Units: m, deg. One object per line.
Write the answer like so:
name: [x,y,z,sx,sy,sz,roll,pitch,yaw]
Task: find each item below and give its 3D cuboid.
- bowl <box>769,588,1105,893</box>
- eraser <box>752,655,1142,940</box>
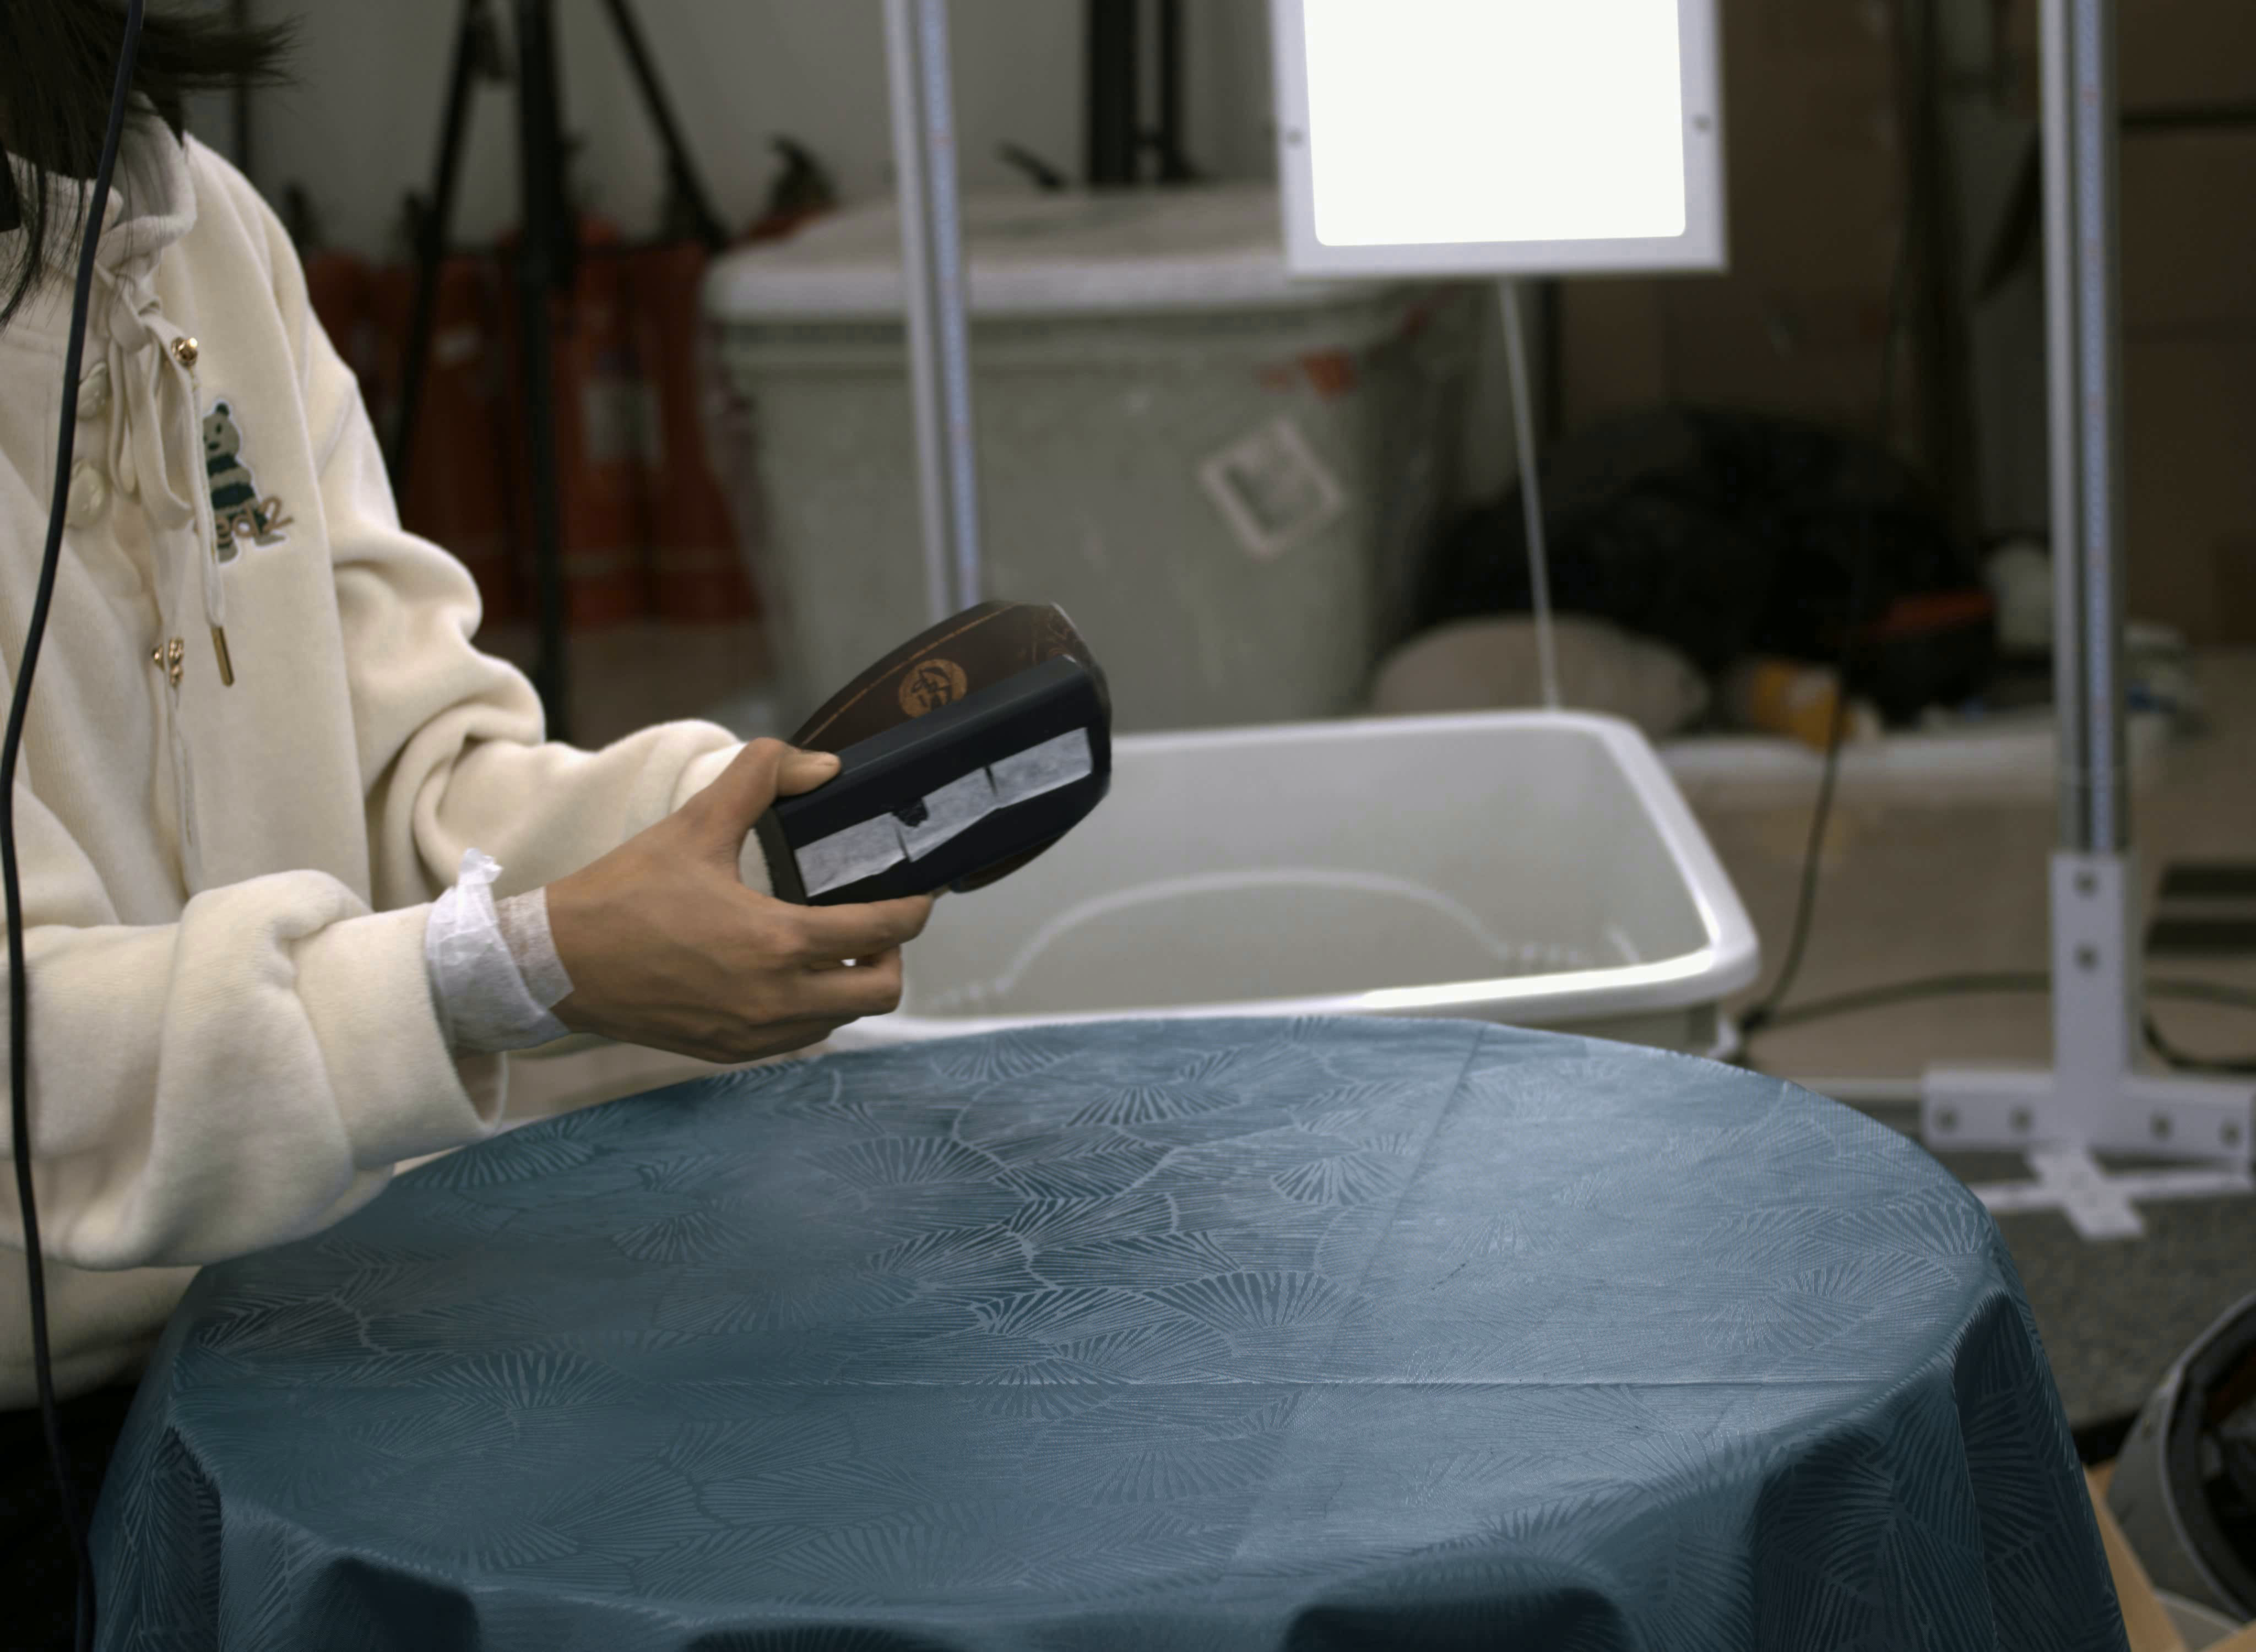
bowl: [-0.058,-0.021,1.903,0.117,0.070,0.118,-31,-15,-11]
eraser: [-0.060,-0.011,1.833,0.124,0.053,0.031,-24,18,-16]
